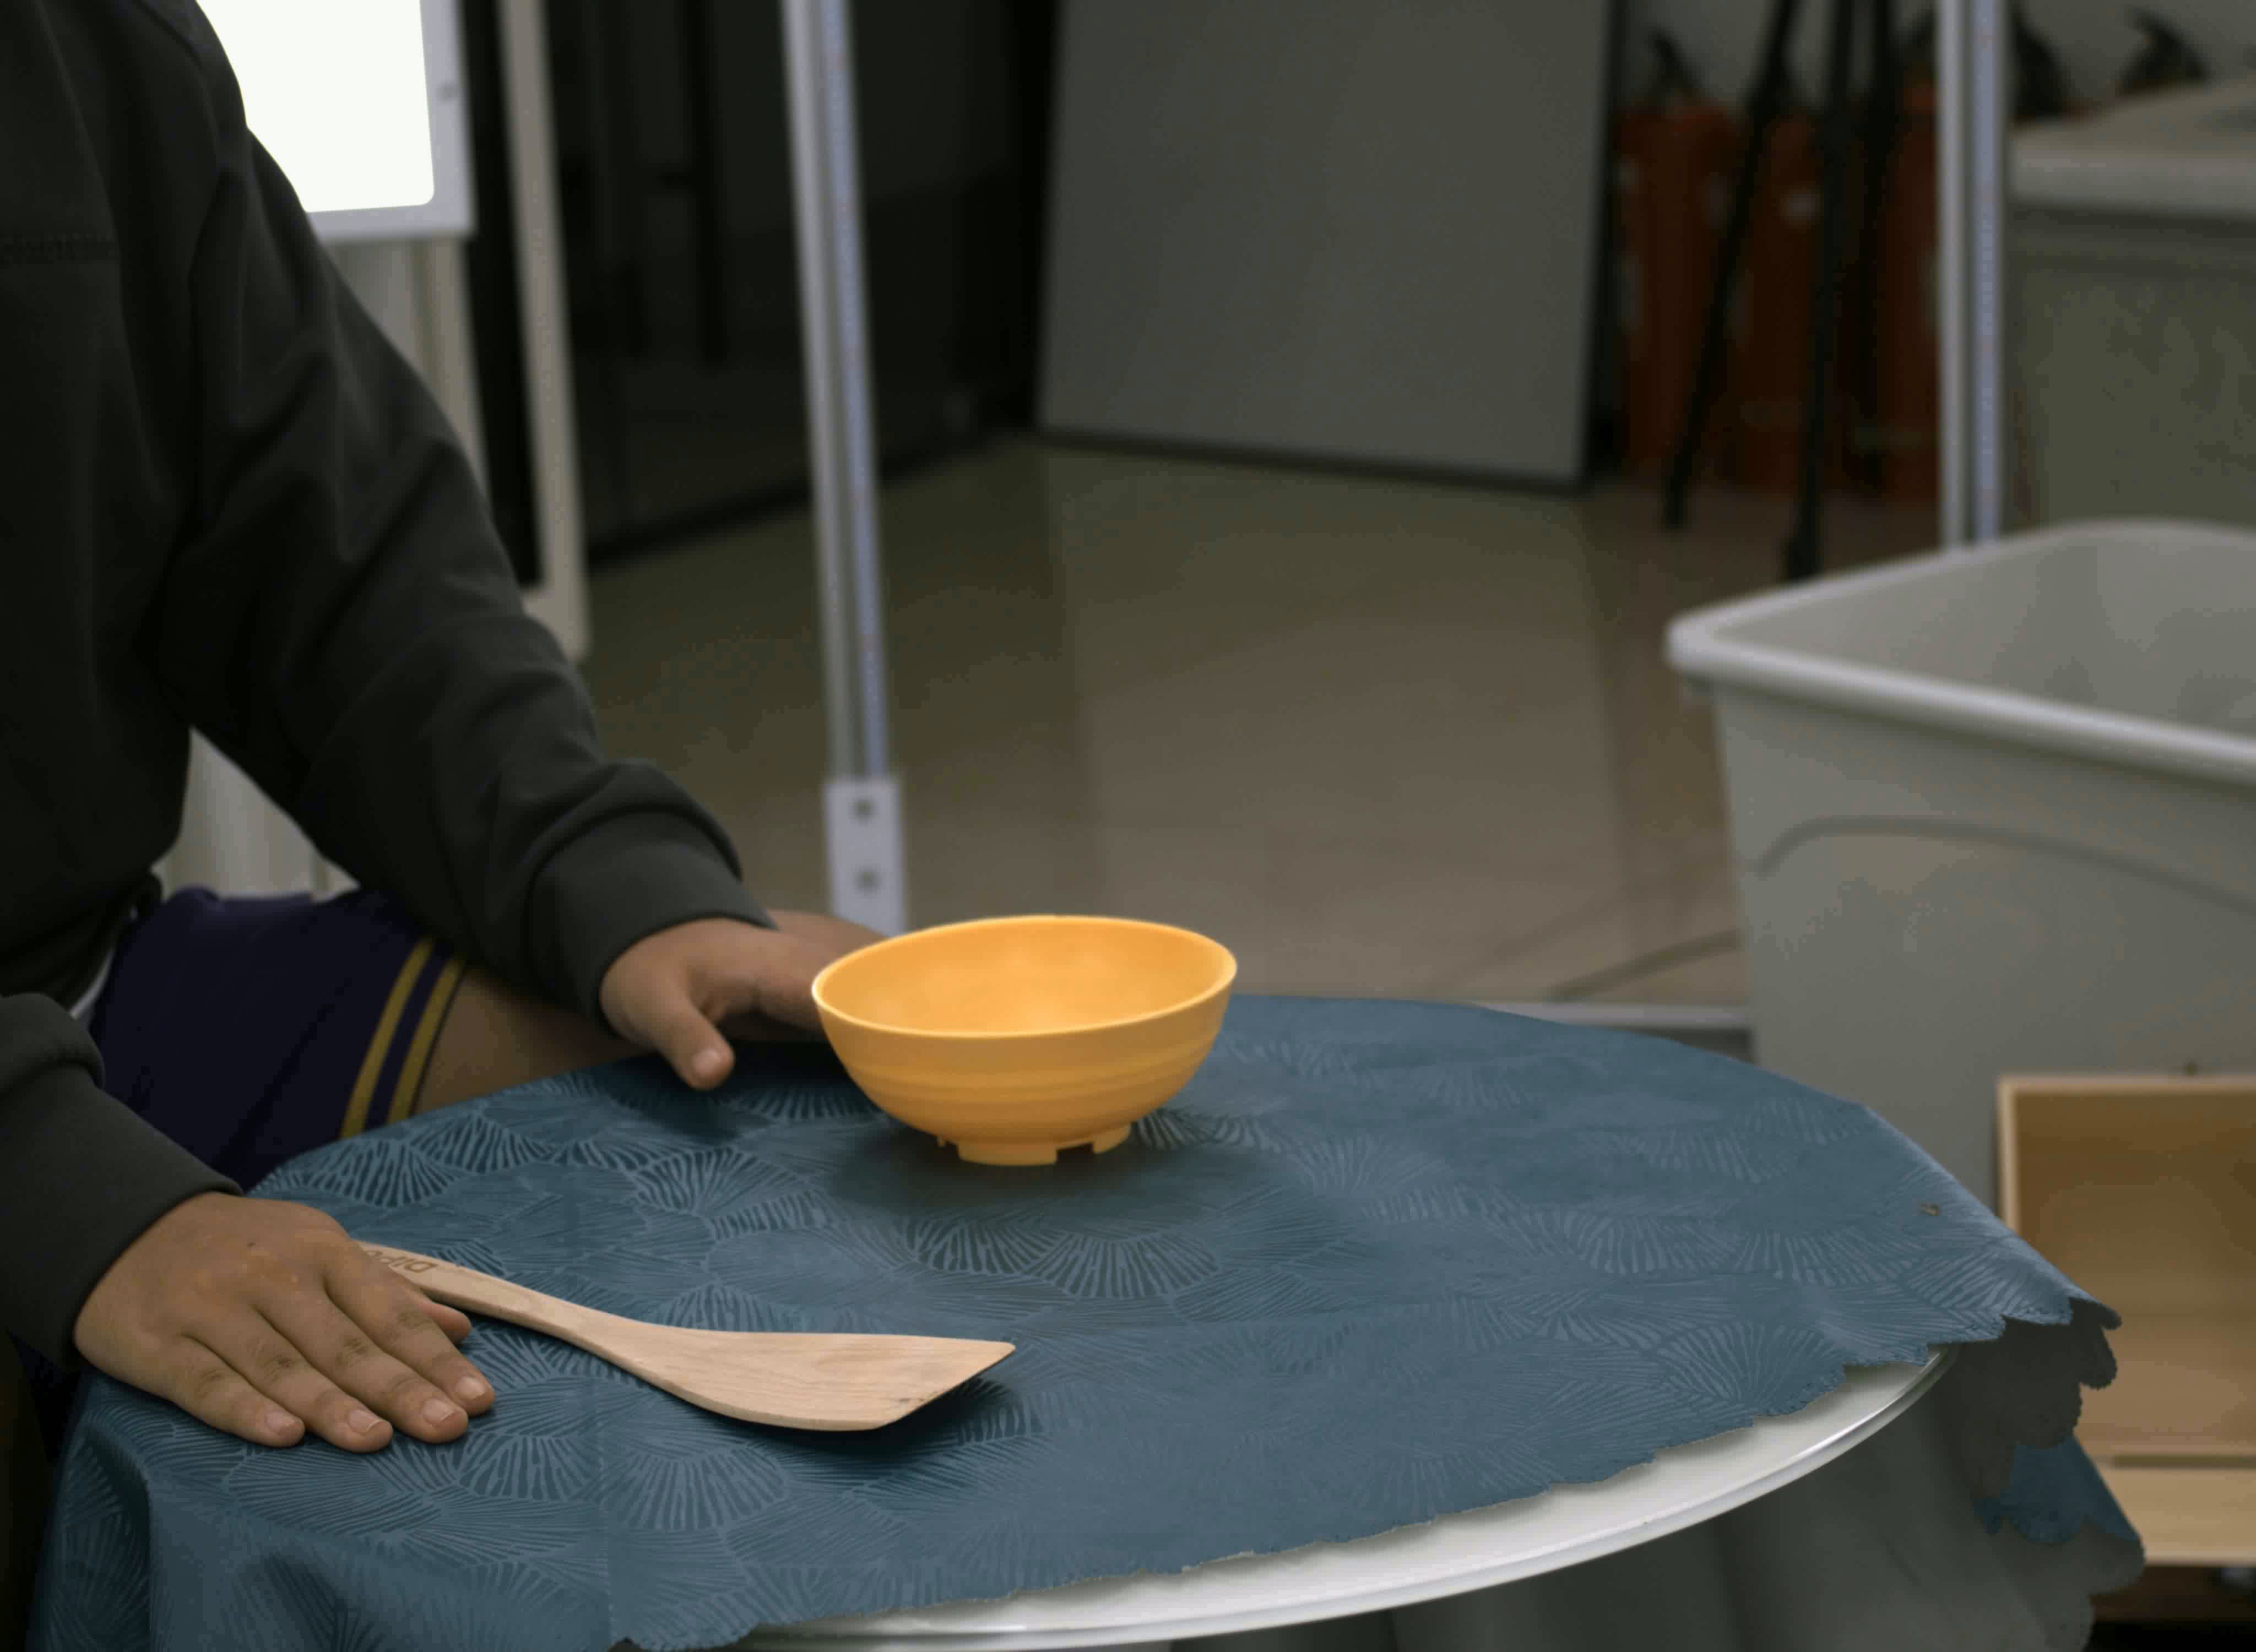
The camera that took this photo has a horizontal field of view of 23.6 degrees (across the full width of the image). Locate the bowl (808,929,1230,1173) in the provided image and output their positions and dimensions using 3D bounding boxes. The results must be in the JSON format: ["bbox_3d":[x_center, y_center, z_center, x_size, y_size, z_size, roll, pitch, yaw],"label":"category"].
[{"bbox_3d":[-0.036,0.080,1.827,0.143,0.061,0.145,-2,12,0],"label":"bowl"}]

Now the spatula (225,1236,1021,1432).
[{"bbox_3d":[-0.166,0.151,1.663,0.330,0.017,0.078,8,18,41],"label":"spatula"}]
